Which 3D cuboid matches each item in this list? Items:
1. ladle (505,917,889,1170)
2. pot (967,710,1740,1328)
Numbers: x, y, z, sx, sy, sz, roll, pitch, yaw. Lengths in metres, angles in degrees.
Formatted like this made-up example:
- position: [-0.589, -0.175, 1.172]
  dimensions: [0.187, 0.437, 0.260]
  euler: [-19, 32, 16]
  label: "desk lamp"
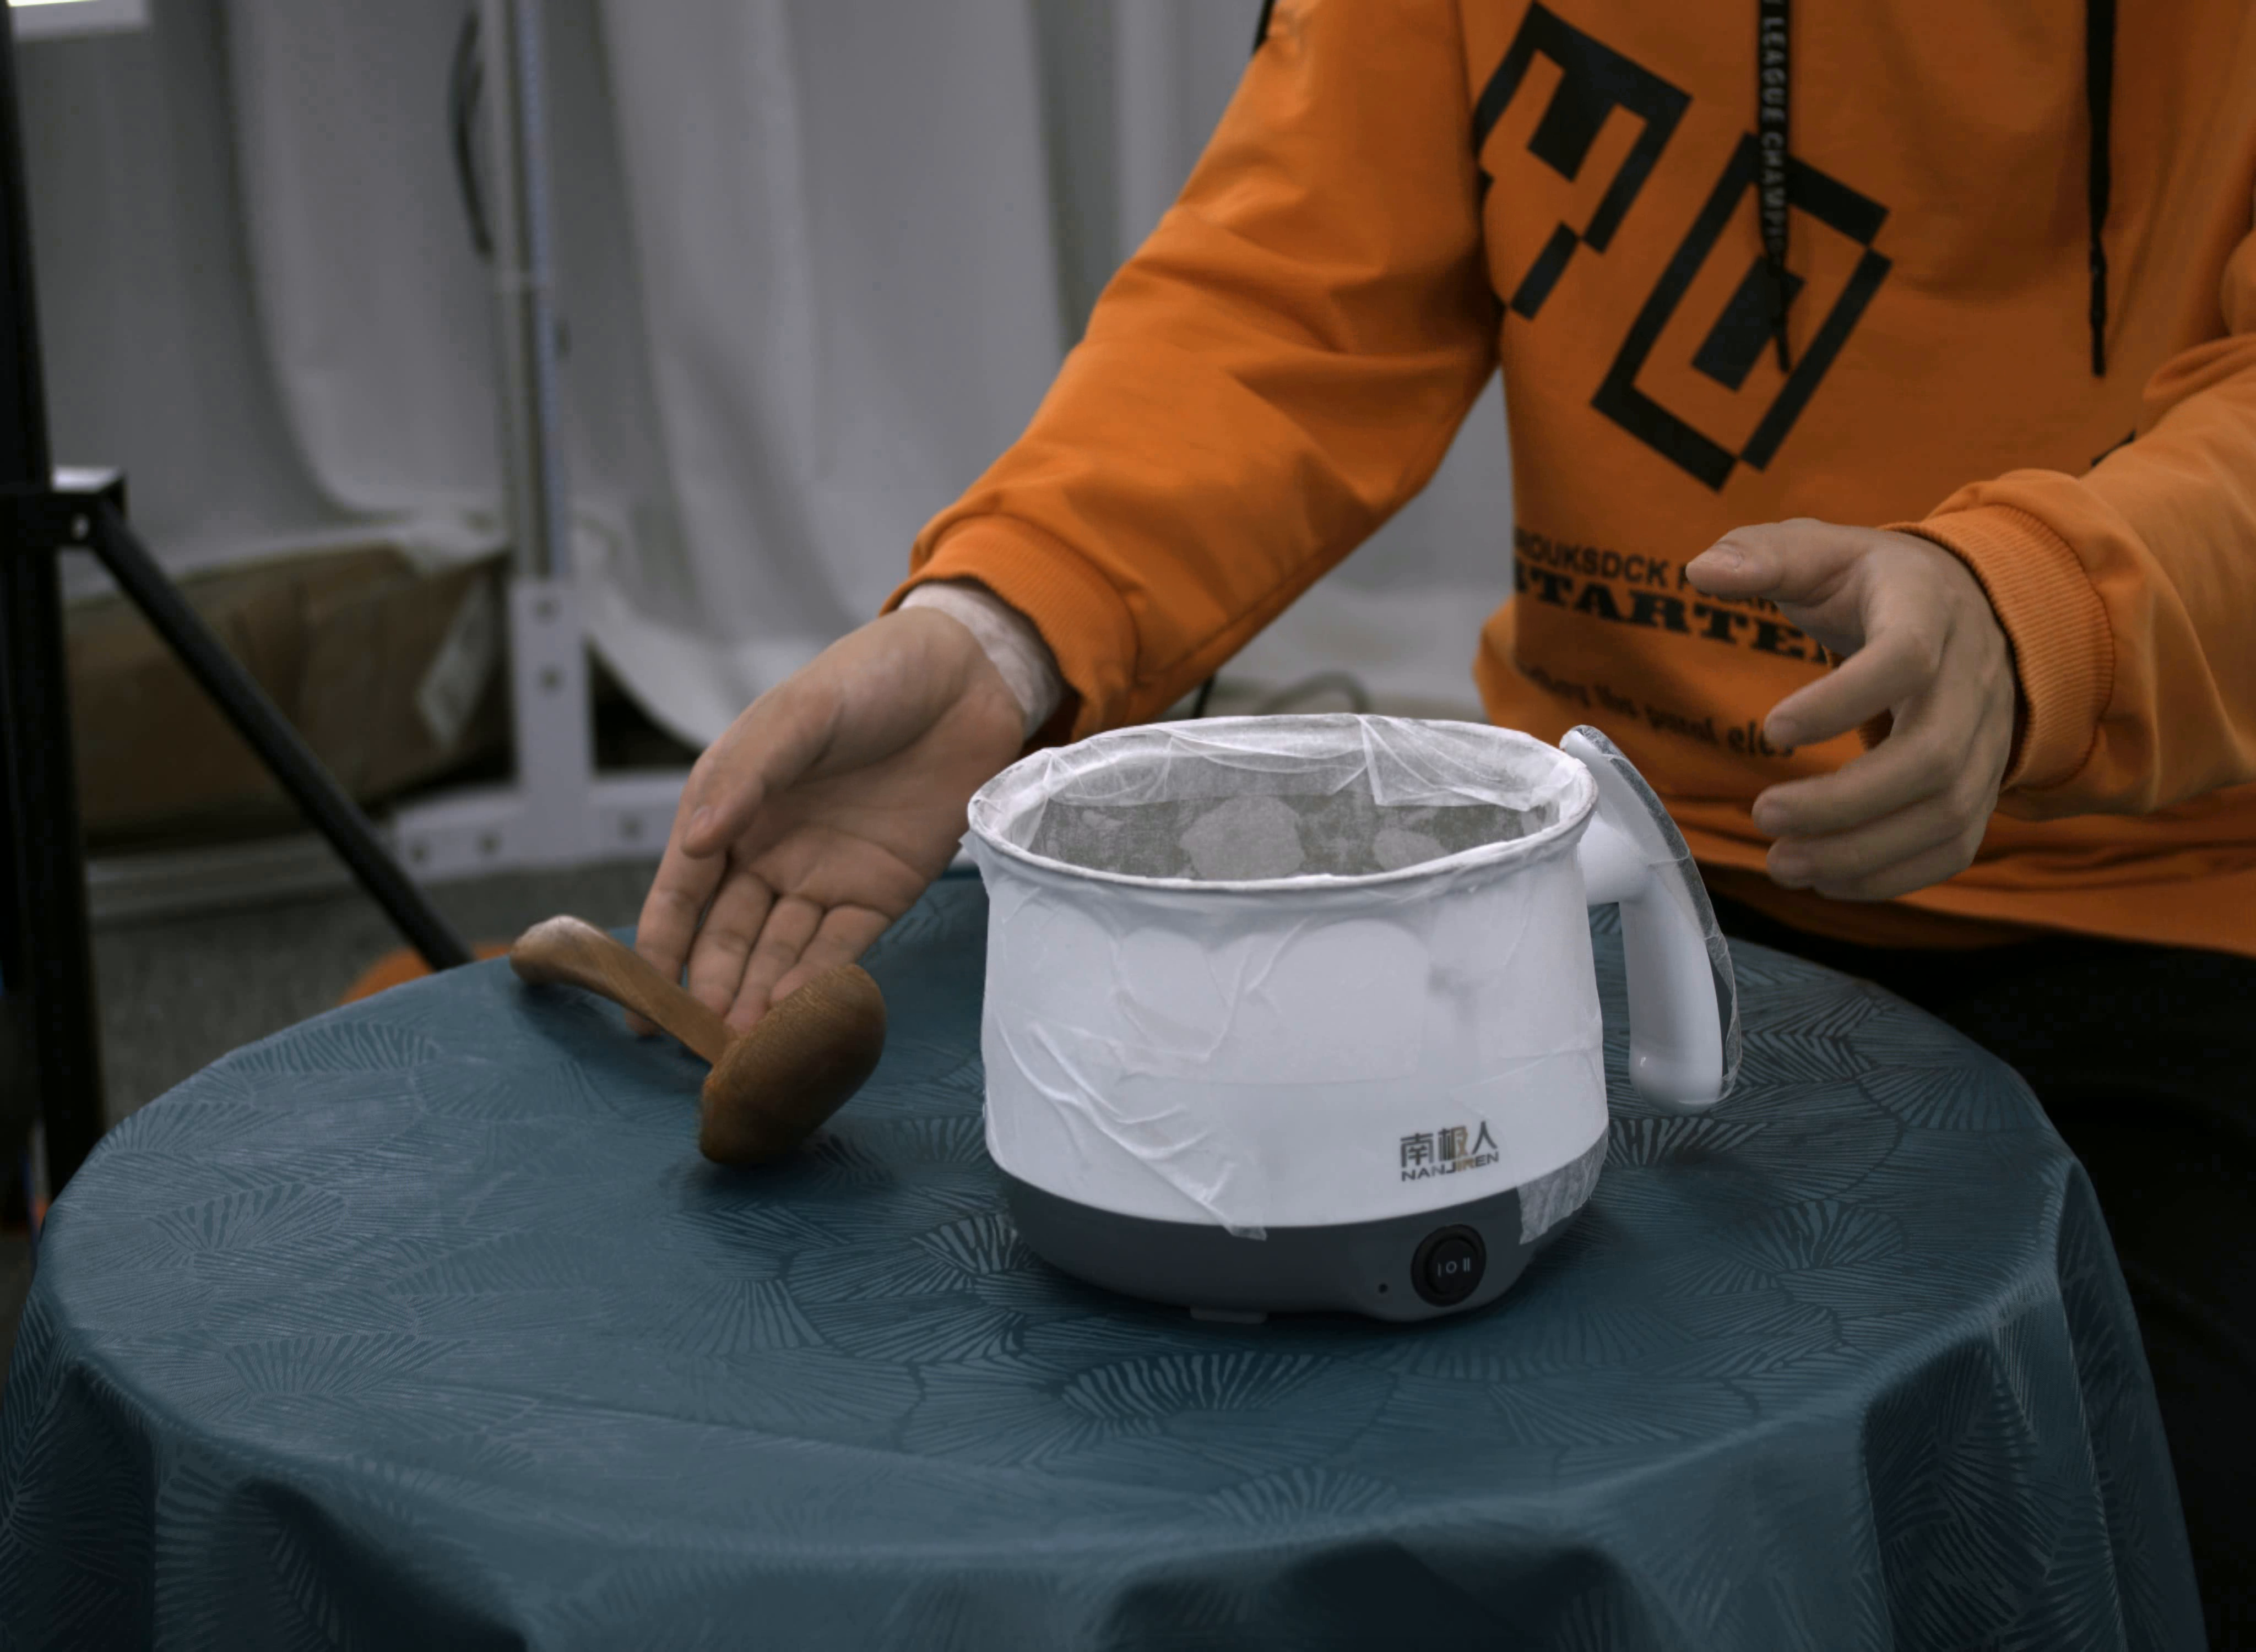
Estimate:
- position: [-0.149, 0.051, 1.675]
  dimensions: [0.076, 0.064, 0.266]
  euler: [-35, 27, -16]
  label: "ladle"
- position: [0.070, 0.048, 1.507]
  dimensions: [0.229, 0.136, 0.182]
  euler: [-11, 18, -26]
  label: "pot"
